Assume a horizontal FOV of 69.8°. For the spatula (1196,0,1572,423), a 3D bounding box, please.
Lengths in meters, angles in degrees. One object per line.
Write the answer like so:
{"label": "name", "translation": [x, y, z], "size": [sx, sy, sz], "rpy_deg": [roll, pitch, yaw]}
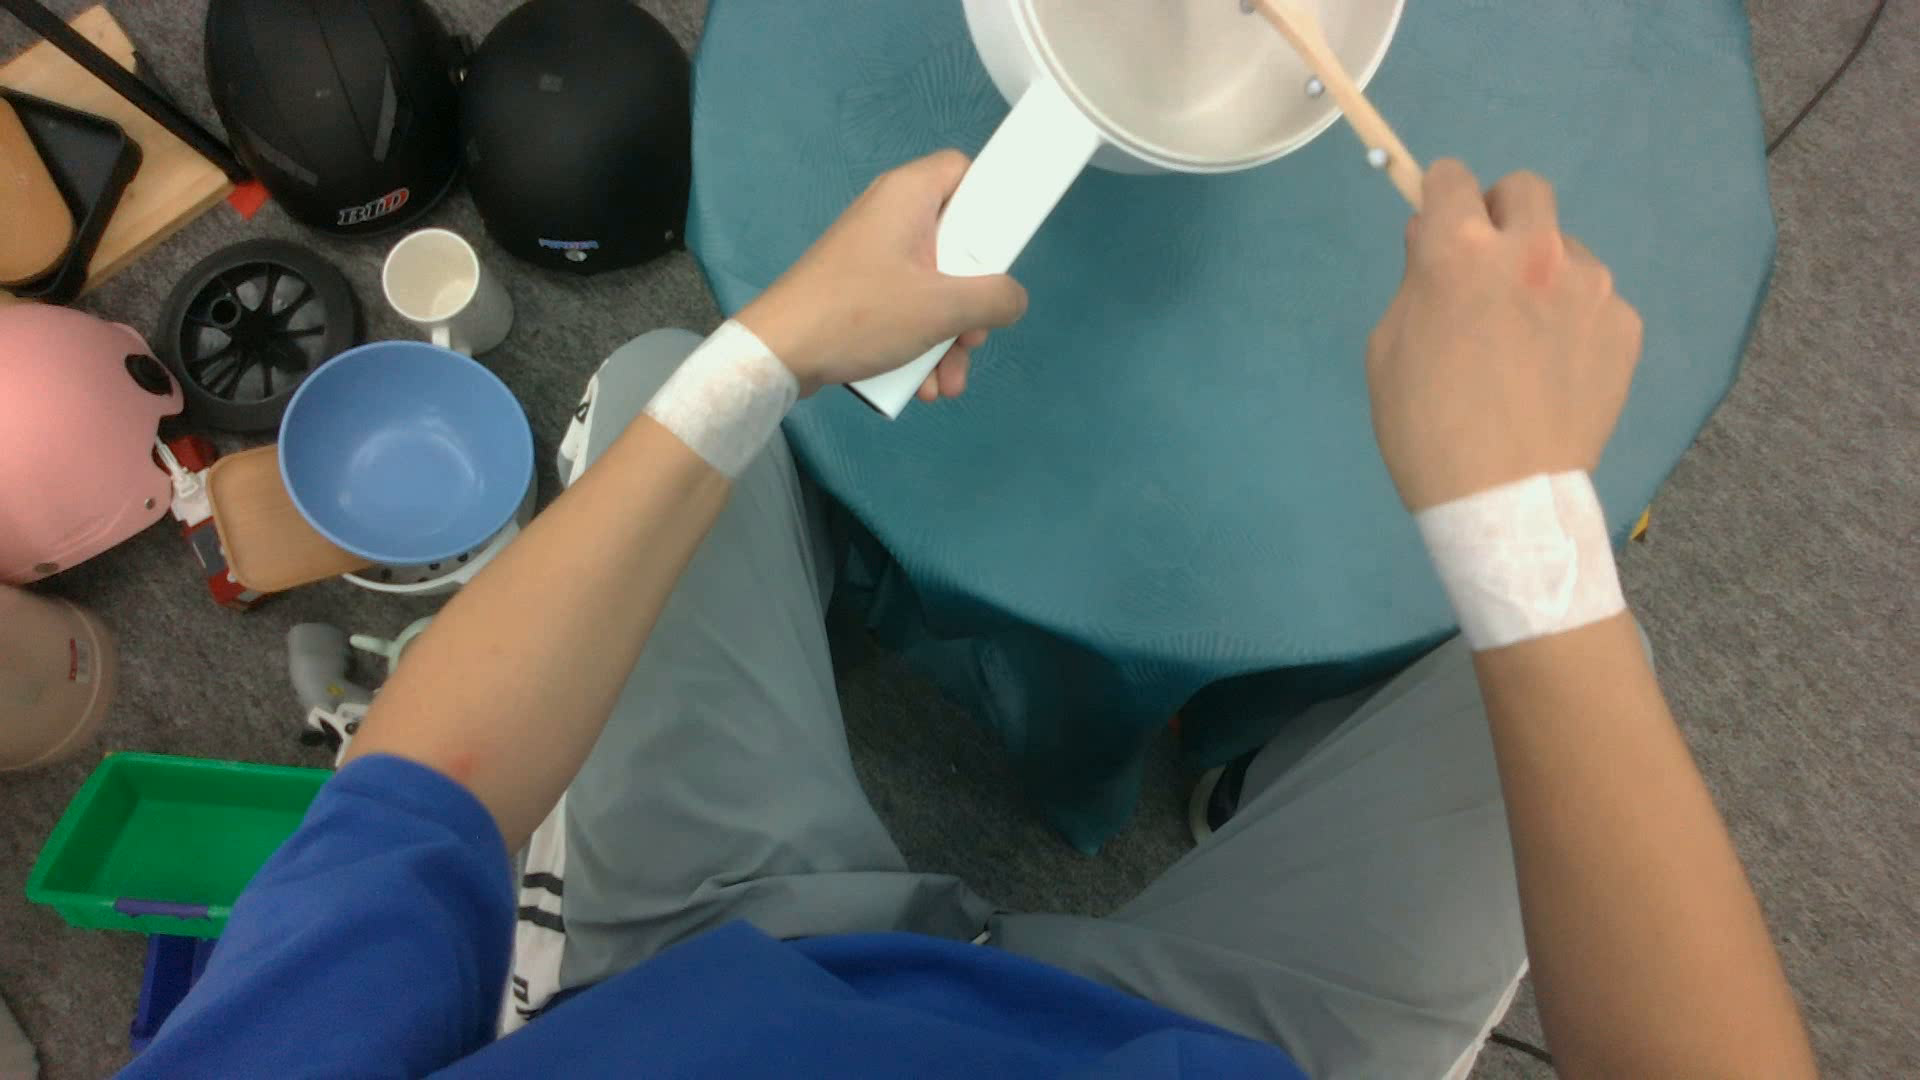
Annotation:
{"label": "spatula", "translation": [0.161, -0.164, 0.578], "size": [0.010, 0.072, 0.293], "rpy_deg": [-44, 67, 31]}

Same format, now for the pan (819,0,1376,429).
{"label": "pan", "translation": [0.047, -0.209, 0.663], "size": [0.201, 0.102, 0.355], "rpy_deg": [37, 87, -22]}
